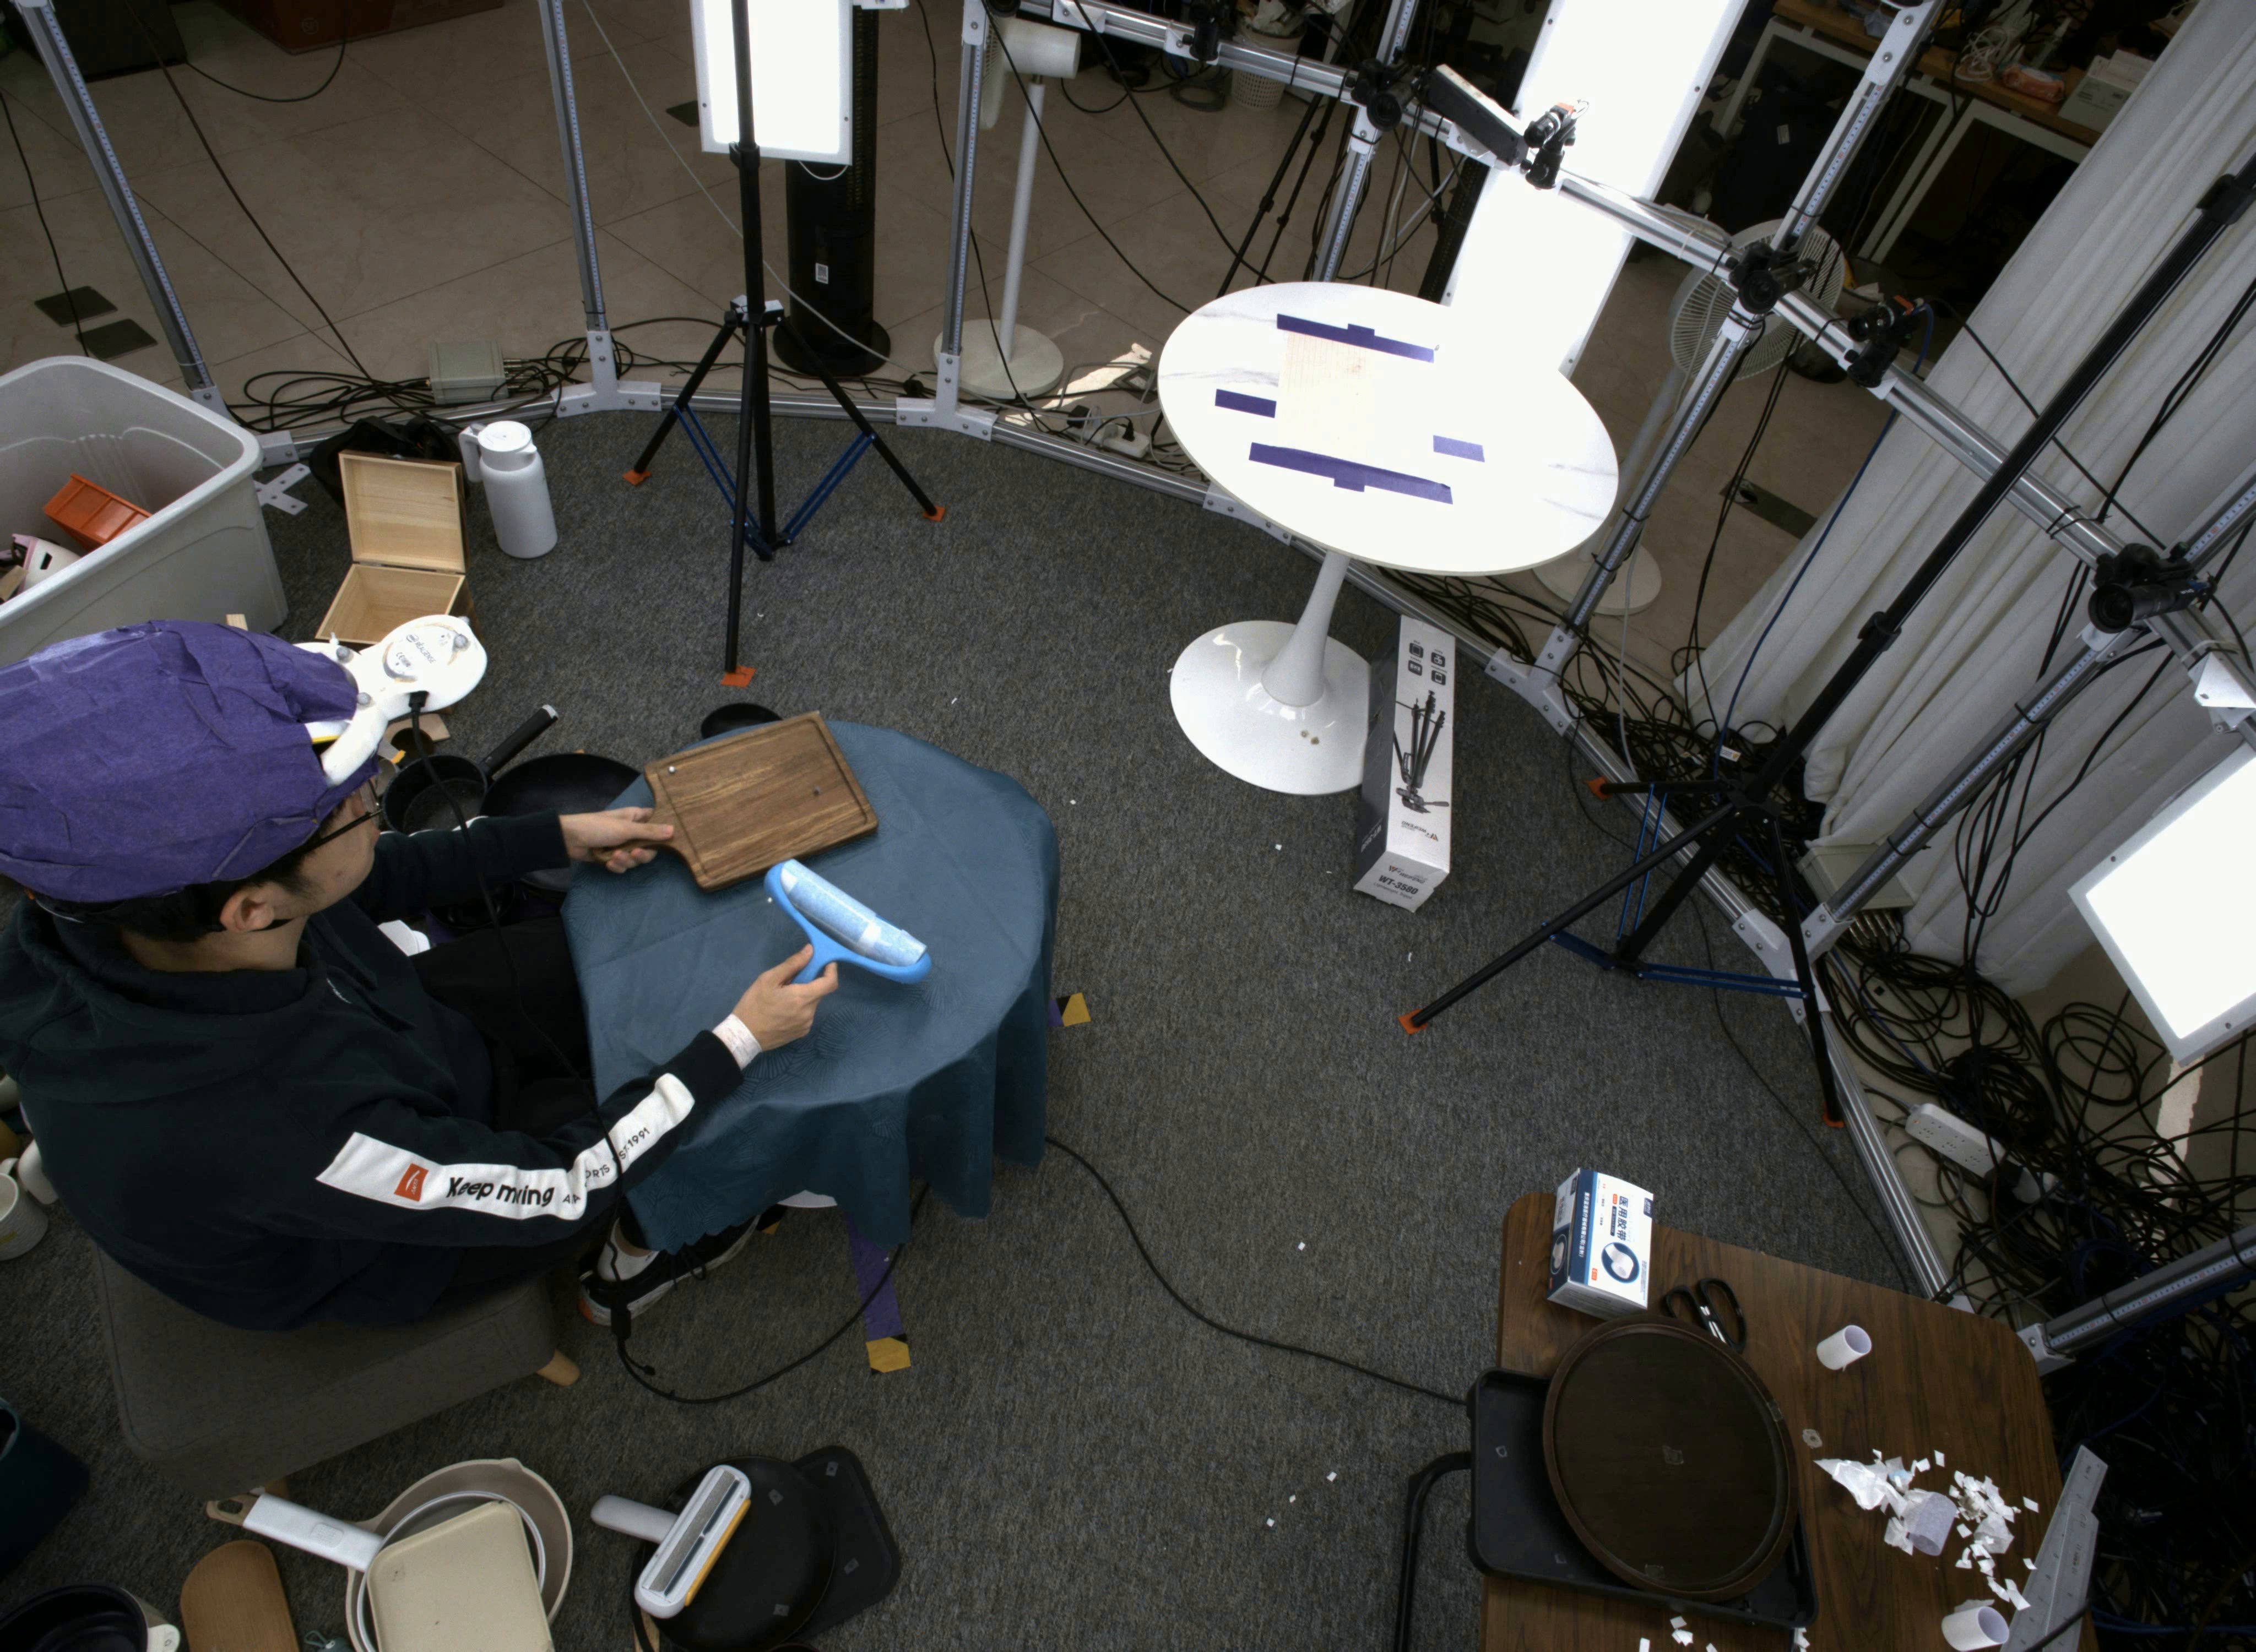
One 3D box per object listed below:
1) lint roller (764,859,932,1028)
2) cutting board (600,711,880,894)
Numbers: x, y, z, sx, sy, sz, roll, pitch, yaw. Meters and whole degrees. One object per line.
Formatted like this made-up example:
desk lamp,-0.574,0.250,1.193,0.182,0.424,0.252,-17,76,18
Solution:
lint roller,-0.361,0.155,1.544,0.230,0.068,0.179,32,56,-8
cutting board,-0.519,-0.022,1.676,0.354,0.023,0.198,-23,72,-31
